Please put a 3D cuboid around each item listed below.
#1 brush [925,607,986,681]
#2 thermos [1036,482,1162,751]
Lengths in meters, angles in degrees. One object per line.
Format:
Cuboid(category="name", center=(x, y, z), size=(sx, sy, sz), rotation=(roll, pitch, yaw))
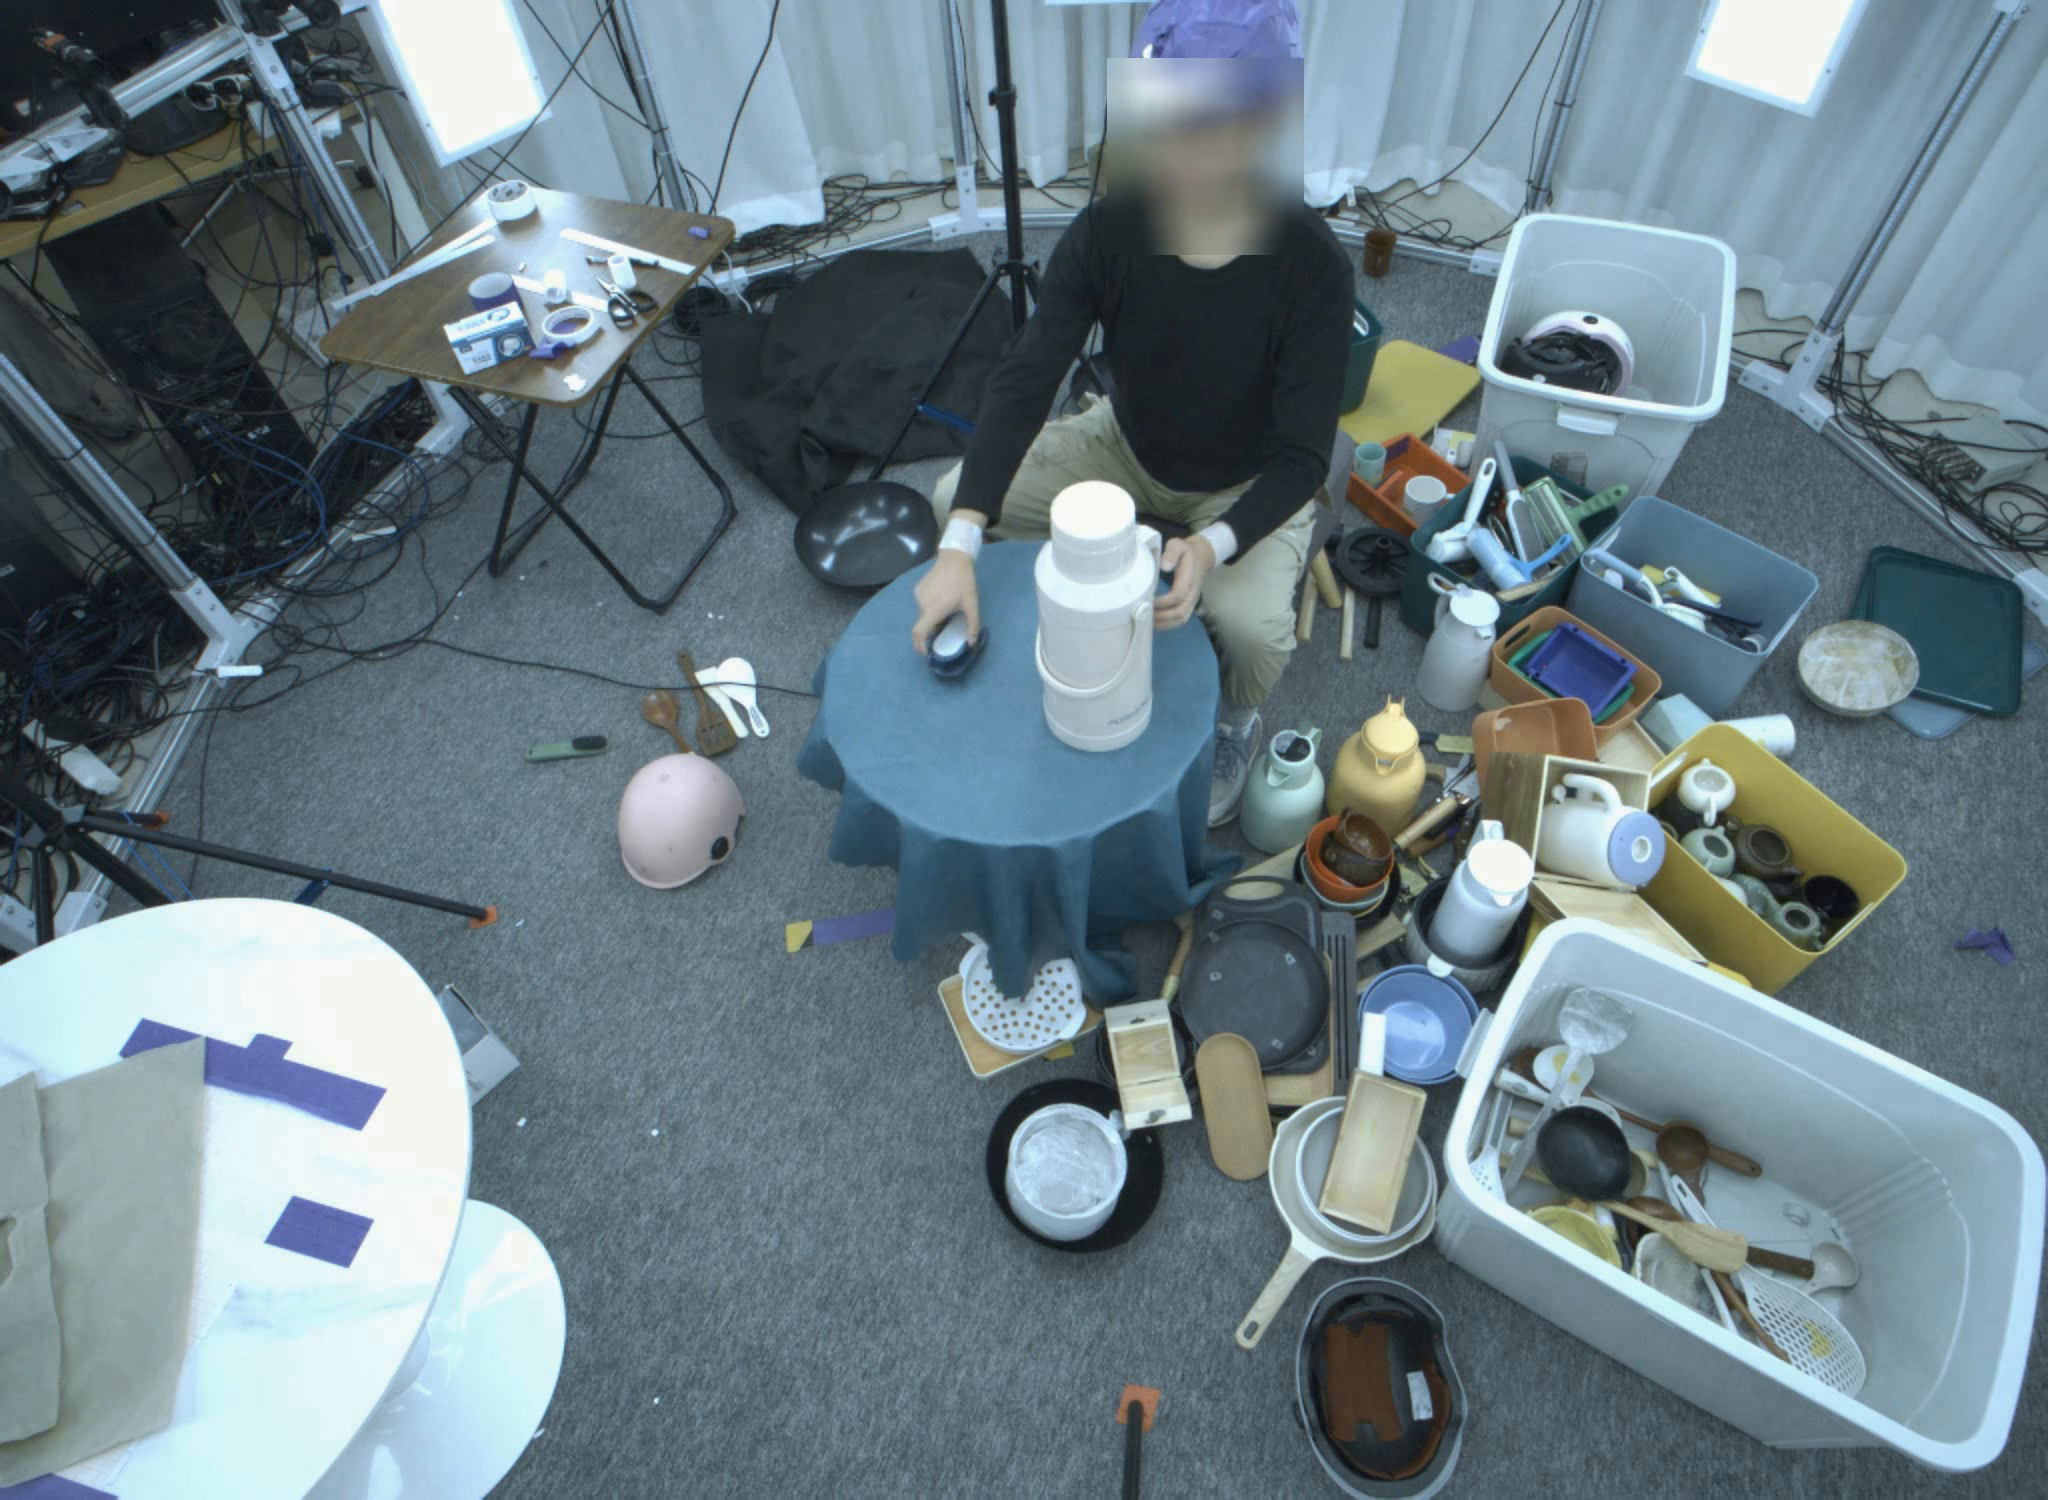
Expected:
Cuboid(category="brush", center=(-0.105, -0.160, 1.871), size=(0.067, 0.062, 0.122), rotation=(26, 61, 17))
Cuboid(category="thermos", center=(0.110, -0.185, 1.670), size=(0.172, 0.411, 0.208), rotation=(37, 65, 27))
